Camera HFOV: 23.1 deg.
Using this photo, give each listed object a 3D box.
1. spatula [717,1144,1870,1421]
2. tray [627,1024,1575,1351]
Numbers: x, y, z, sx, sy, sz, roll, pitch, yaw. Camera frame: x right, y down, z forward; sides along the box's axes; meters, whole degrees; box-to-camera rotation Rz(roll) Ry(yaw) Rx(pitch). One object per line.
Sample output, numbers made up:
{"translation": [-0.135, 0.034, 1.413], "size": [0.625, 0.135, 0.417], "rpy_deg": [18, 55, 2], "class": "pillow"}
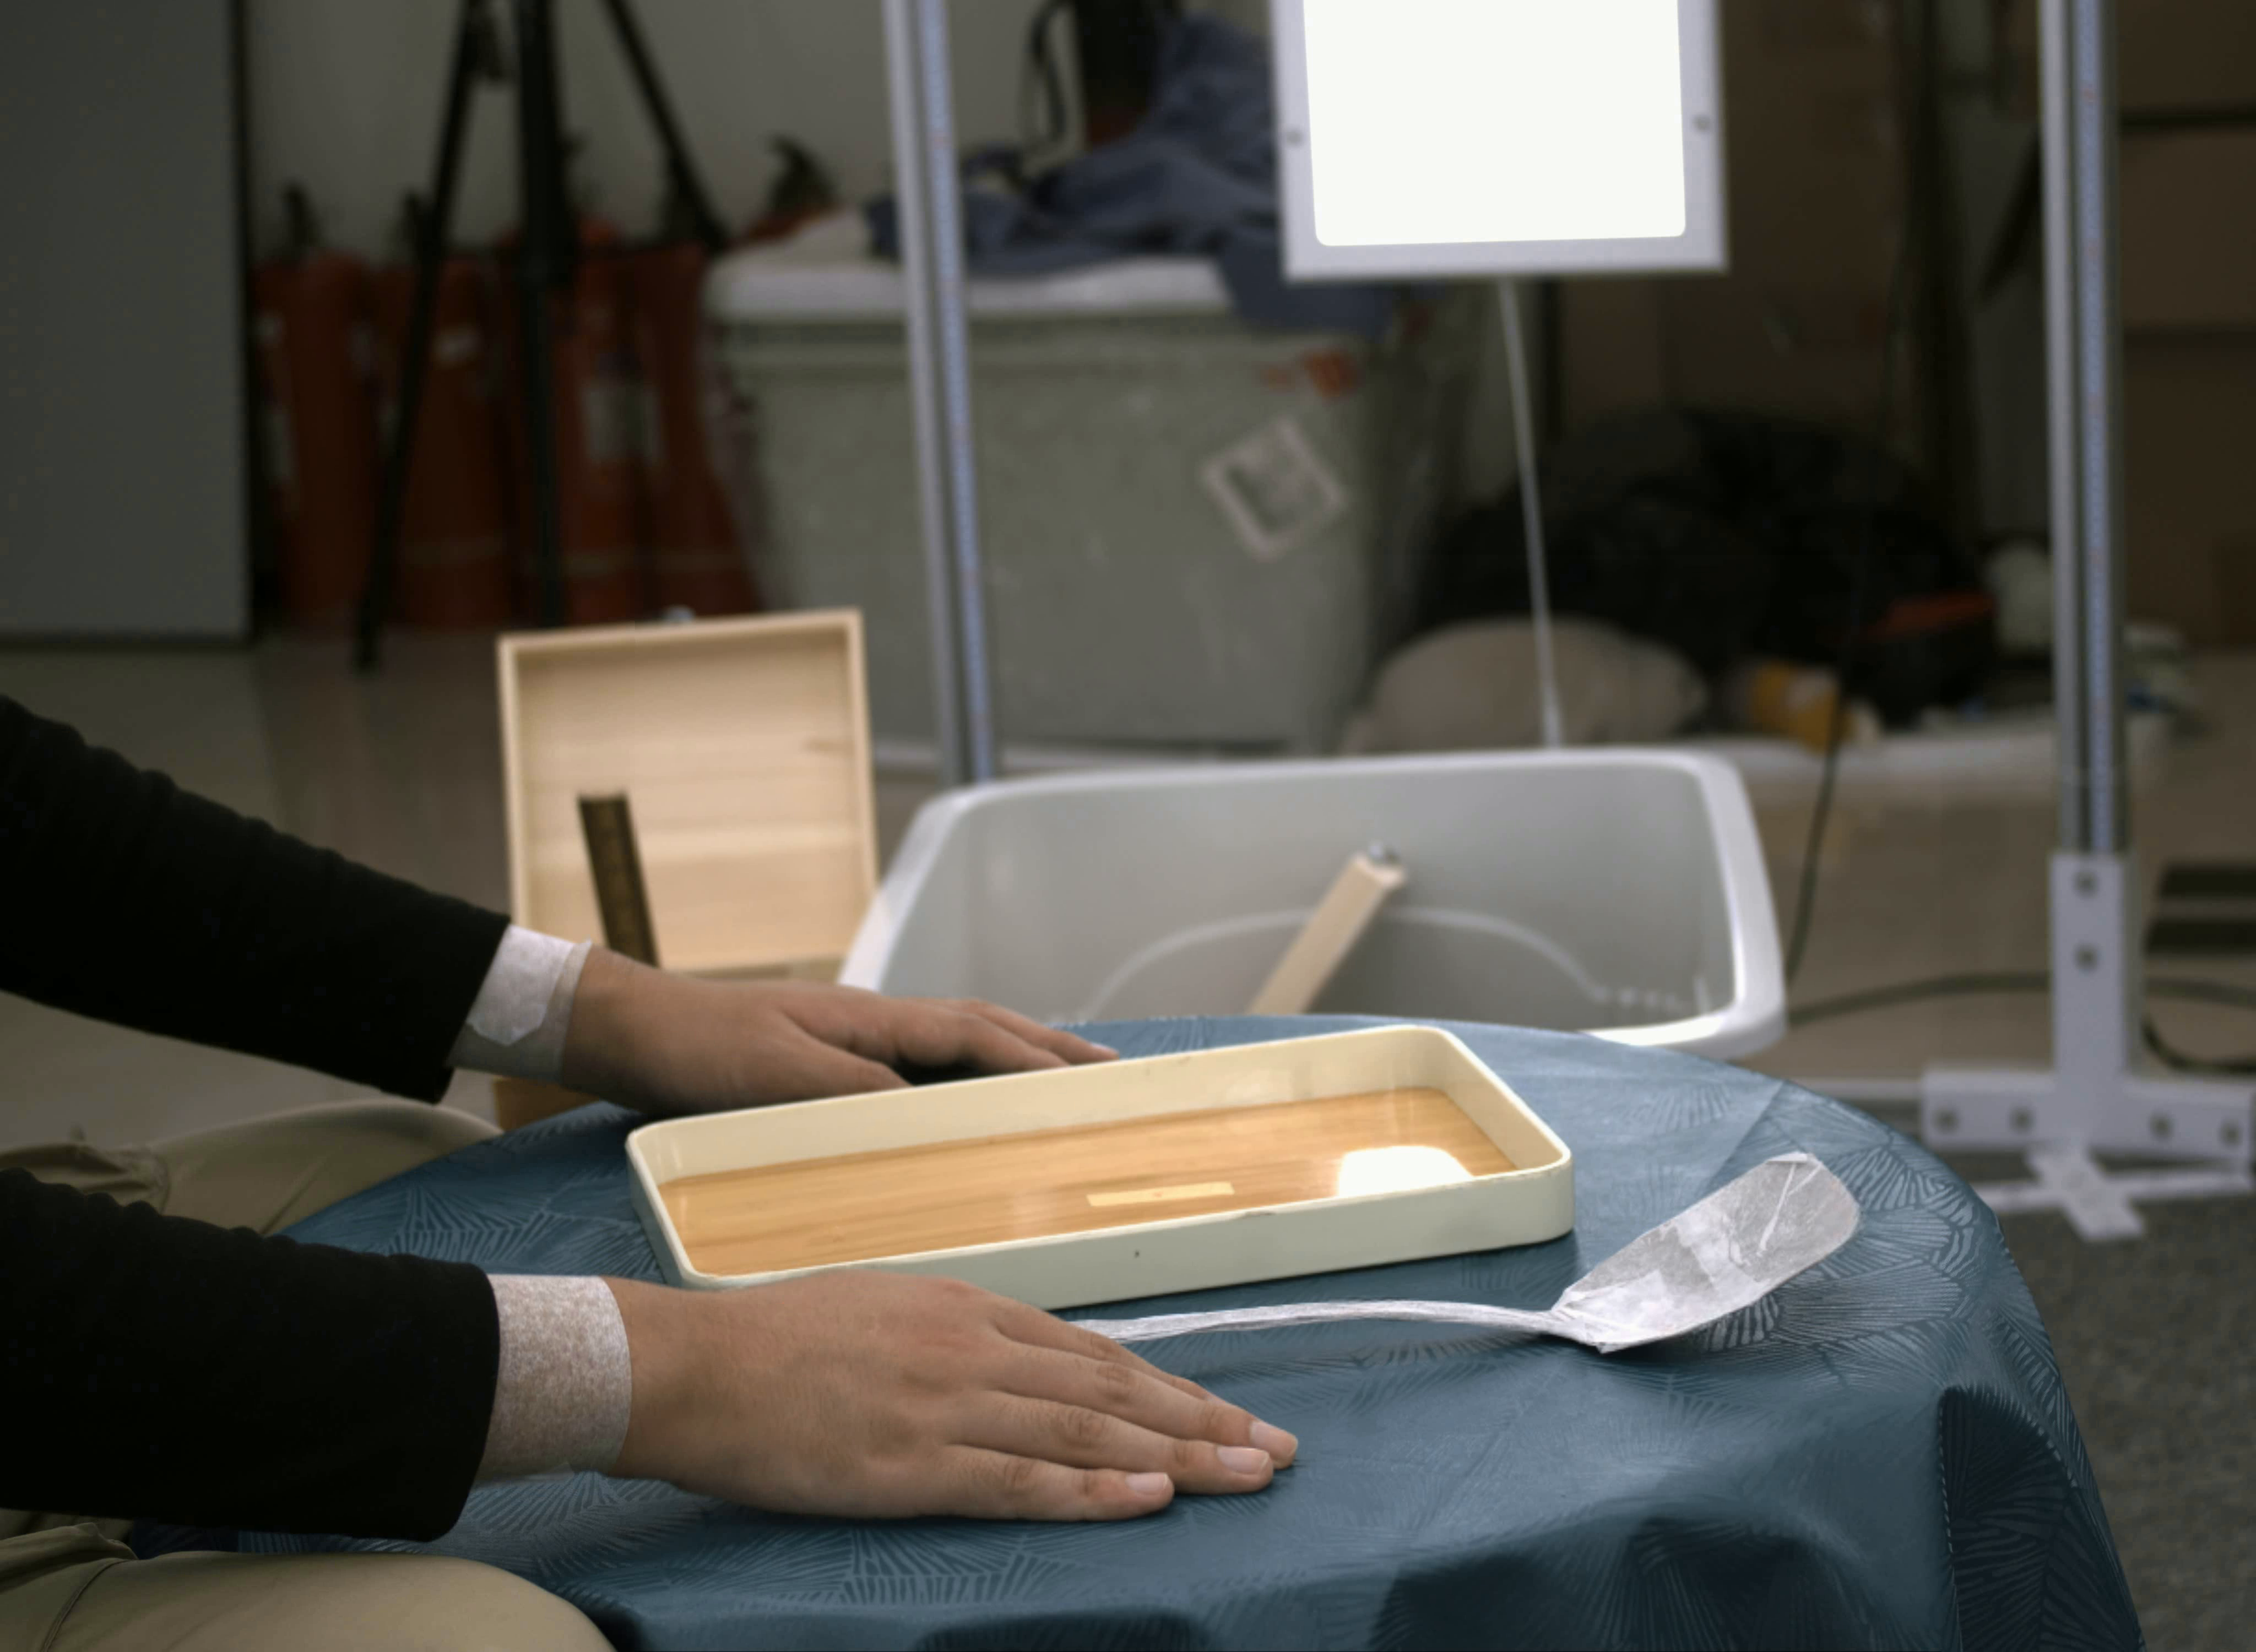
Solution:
{"translation": [0.051, 0.148, 1.711], "size": [0.363, 0.045, 0.099], "rpy_deg": [-6, 14, -2], "class": "spatula"}
{"translation": [-0.013, 0.120, 1.871], "size": [0.297, 0.027, 0.192], "rpy_deg": [-7, 14, -8], "class": "tray"}
